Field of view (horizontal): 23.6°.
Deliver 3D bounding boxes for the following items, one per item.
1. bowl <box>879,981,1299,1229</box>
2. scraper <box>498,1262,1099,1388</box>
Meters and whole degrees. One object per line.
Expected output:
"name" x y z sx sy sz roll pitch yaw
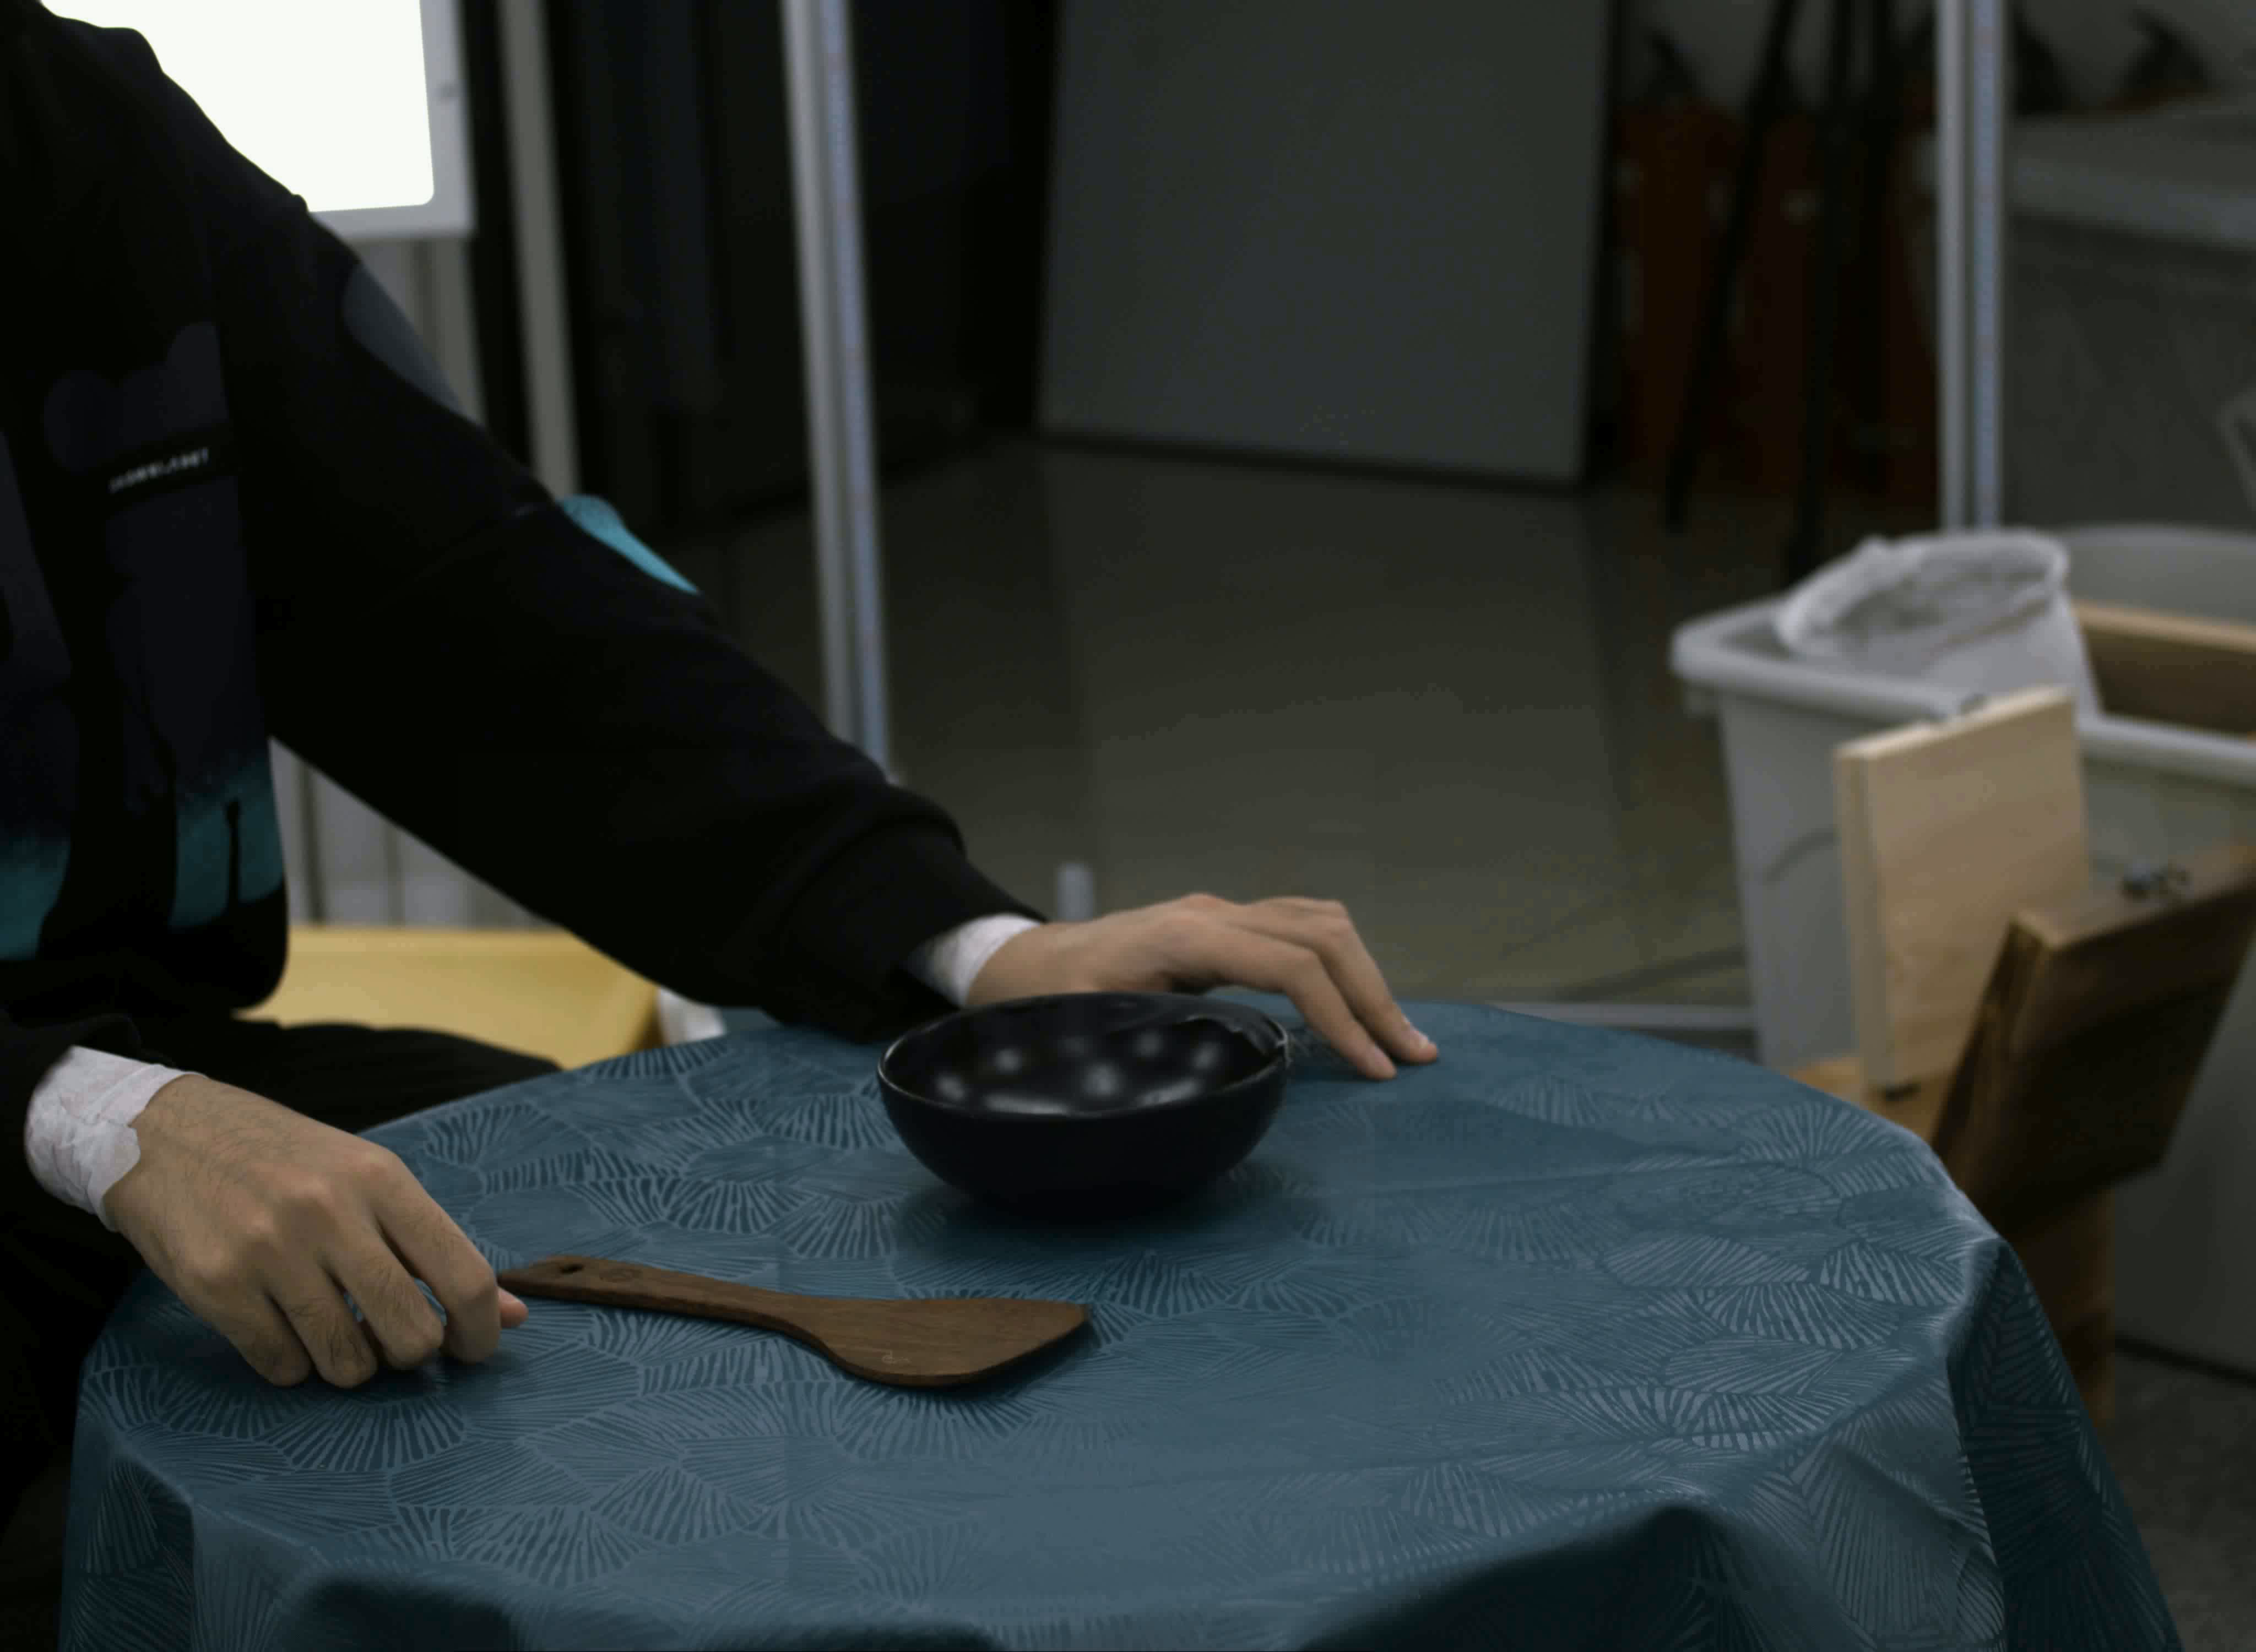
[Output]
"bowl" -0.011 0.096 1.770 0.138 0.050 0.140 -4 17 0
"scraper" -0.108 0.151 1.667 0.212 0.011 0.074 5 15 34
